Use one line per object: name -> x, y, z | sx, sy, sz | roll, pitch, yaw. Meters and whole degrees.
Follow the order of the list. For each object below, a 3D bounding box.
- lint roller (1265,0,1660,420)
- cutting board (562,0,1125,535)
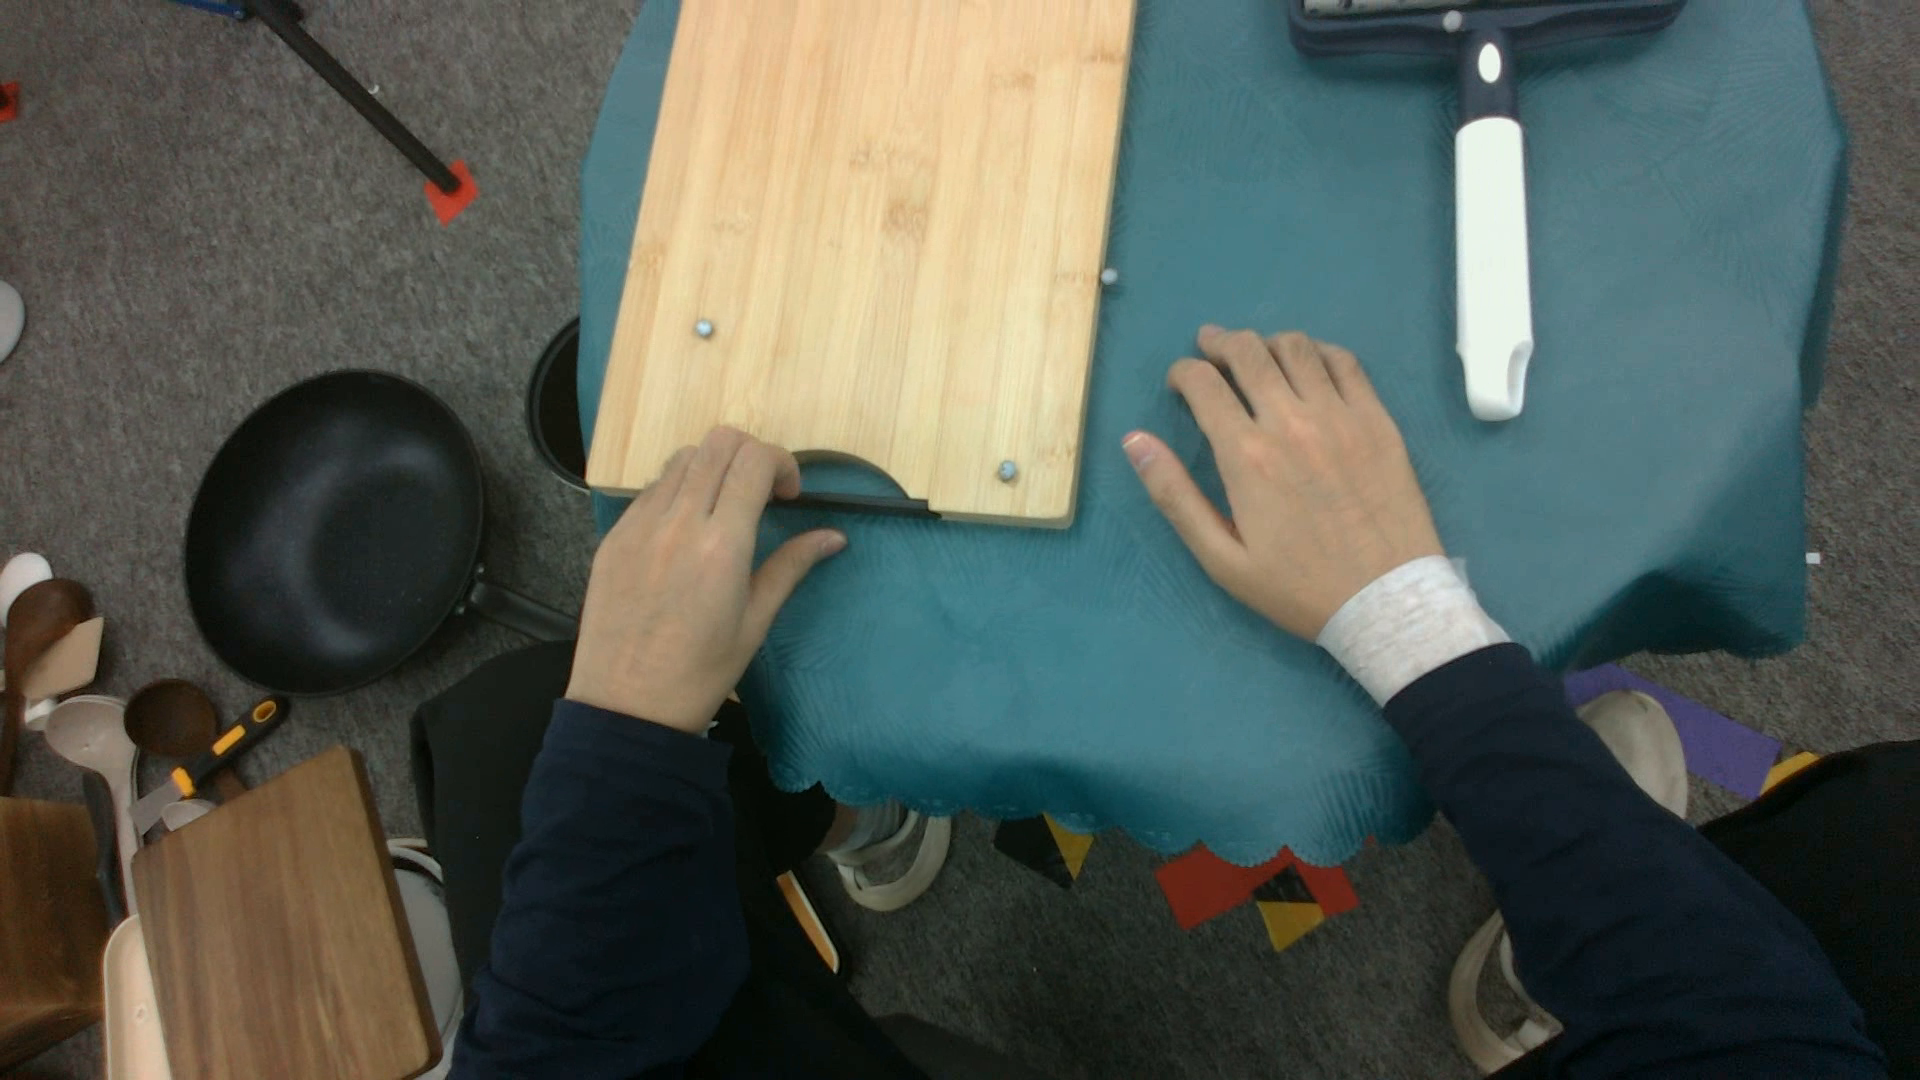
lint roller -> 0.229, -0.177, 0.618 | 0.176, 0.050, 0.247 | -1, 76, 11
cutting board -> -0.051, -0.178, 0.691 | 0.250, 0.023, 0.349 | 3, 75, 13
